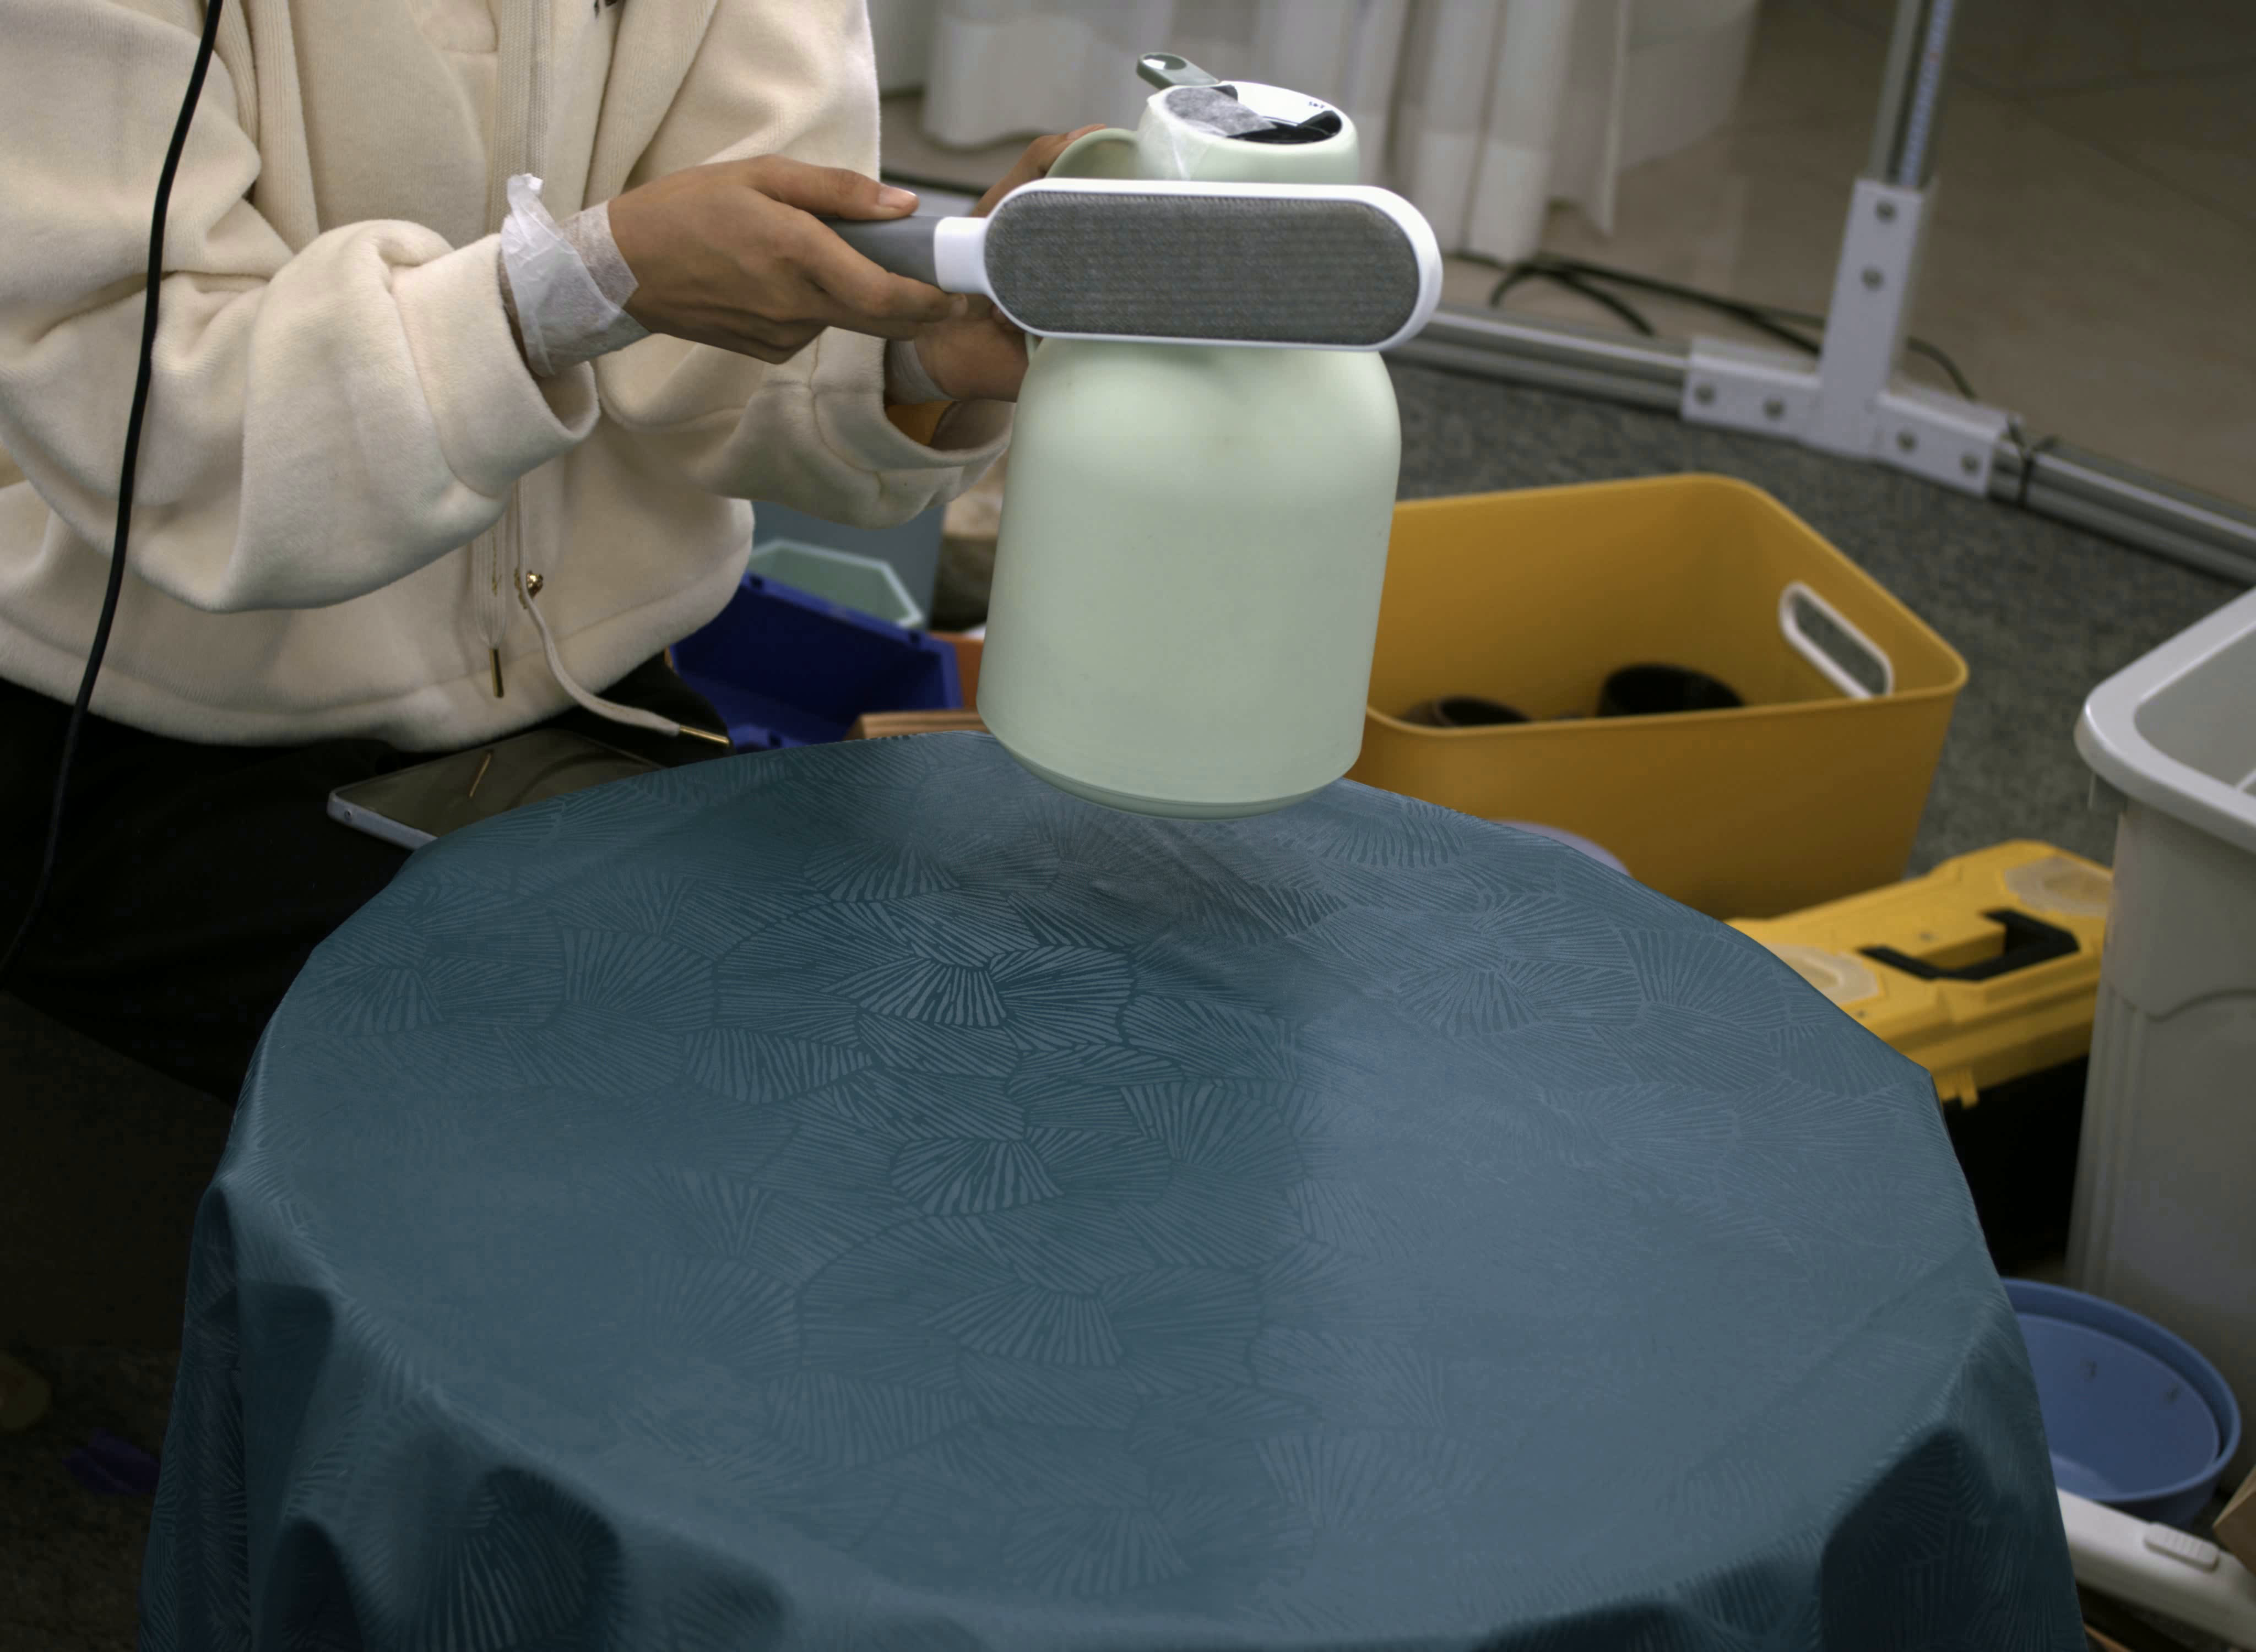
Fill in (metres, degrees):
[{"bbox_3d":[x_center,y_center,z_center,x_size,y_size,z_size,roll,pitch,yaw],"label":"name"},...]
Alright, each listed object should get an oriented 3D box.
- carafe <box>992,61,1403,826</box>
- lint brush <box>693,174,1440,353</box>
[{"bbox_3d":[0.022,-0.144,1.949,0.143,0.256,0.188,-11,27,-31],"label":"carafe"},{"bbox_3d":[-0.027,-0.202,1.883,0.310,0.060,0.021,6,19,32],"label":"lint brush"}]
